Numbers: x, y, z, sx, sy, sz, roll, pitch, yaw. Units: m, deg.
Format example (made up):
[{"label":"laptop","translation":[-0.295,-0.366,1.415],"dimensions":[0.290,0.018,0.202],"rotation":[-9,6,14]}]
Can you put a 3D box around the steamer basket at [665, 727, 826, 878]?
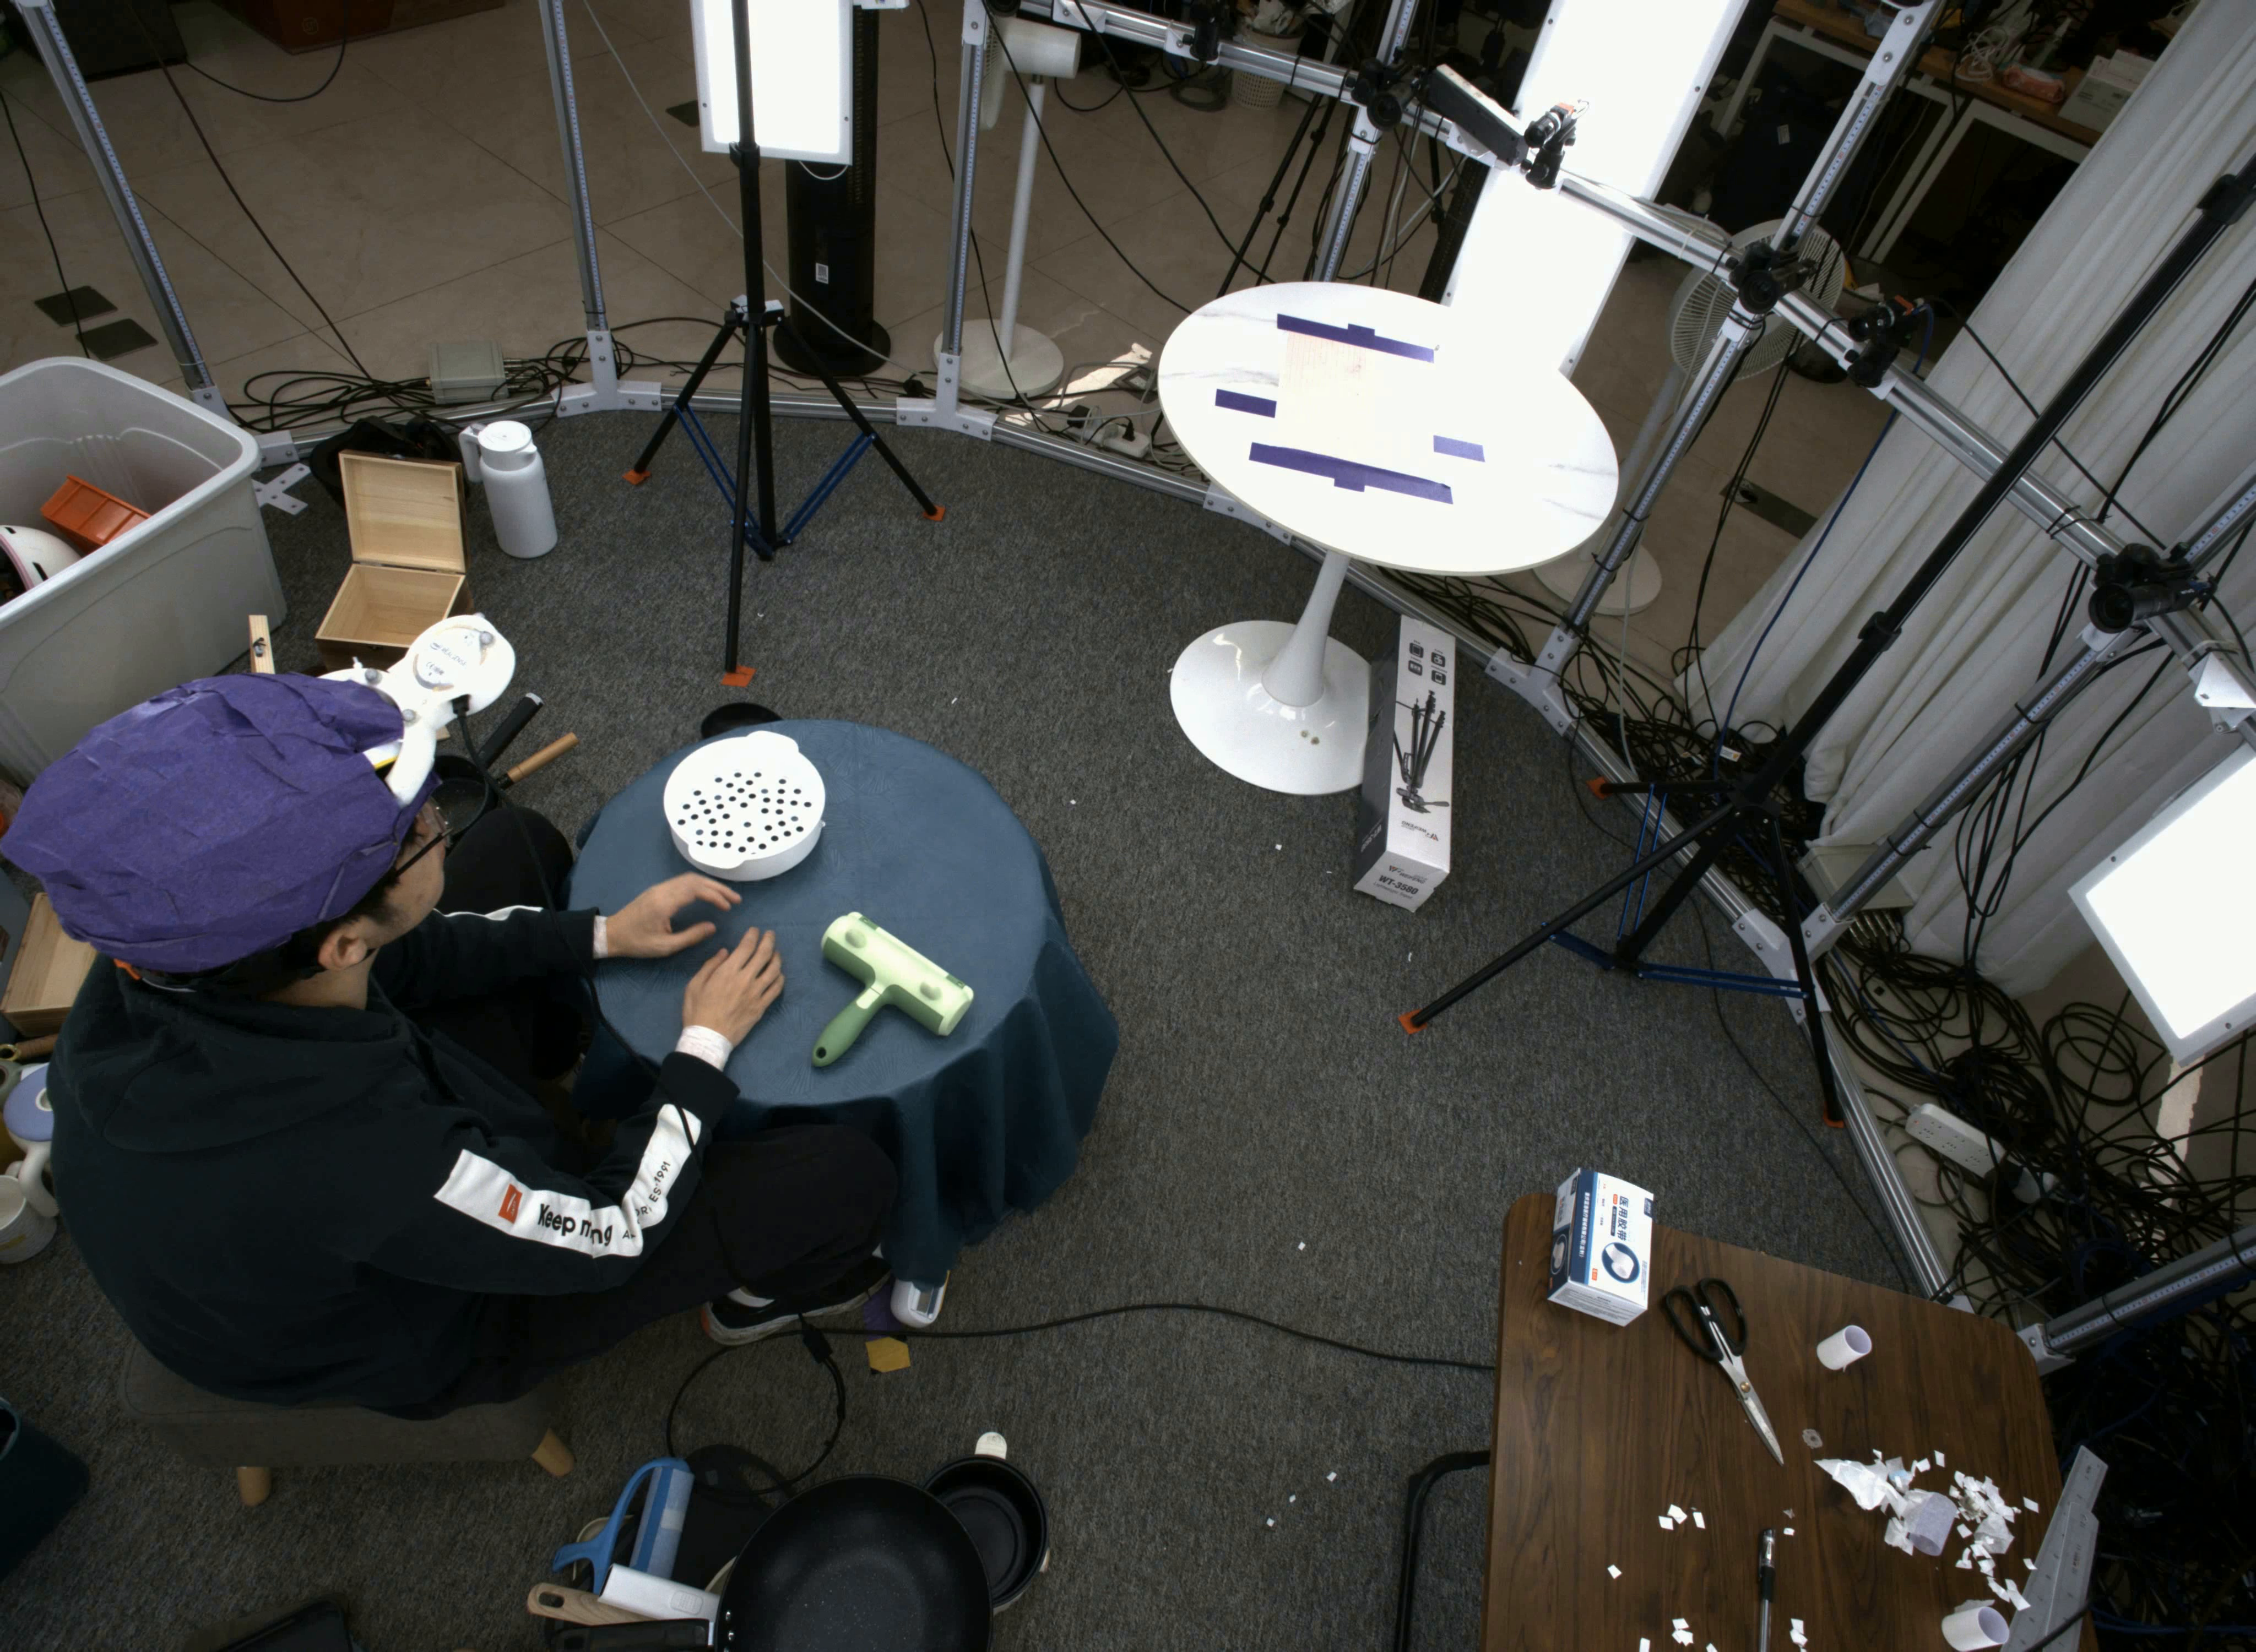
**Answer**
[{"label":"steamer basket","translation":[-0.497,-0.026,1.686],"dimensions":[0.201,0.070,0.227],"rotation":[16,50,-4]}]

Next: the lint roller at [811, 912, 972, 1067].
[{"label":"lint roller","translation":[-0.315,0.206,1.557],"dimensions":[0.195,0.084,0.183],"rotation":[33,49,11]}]
